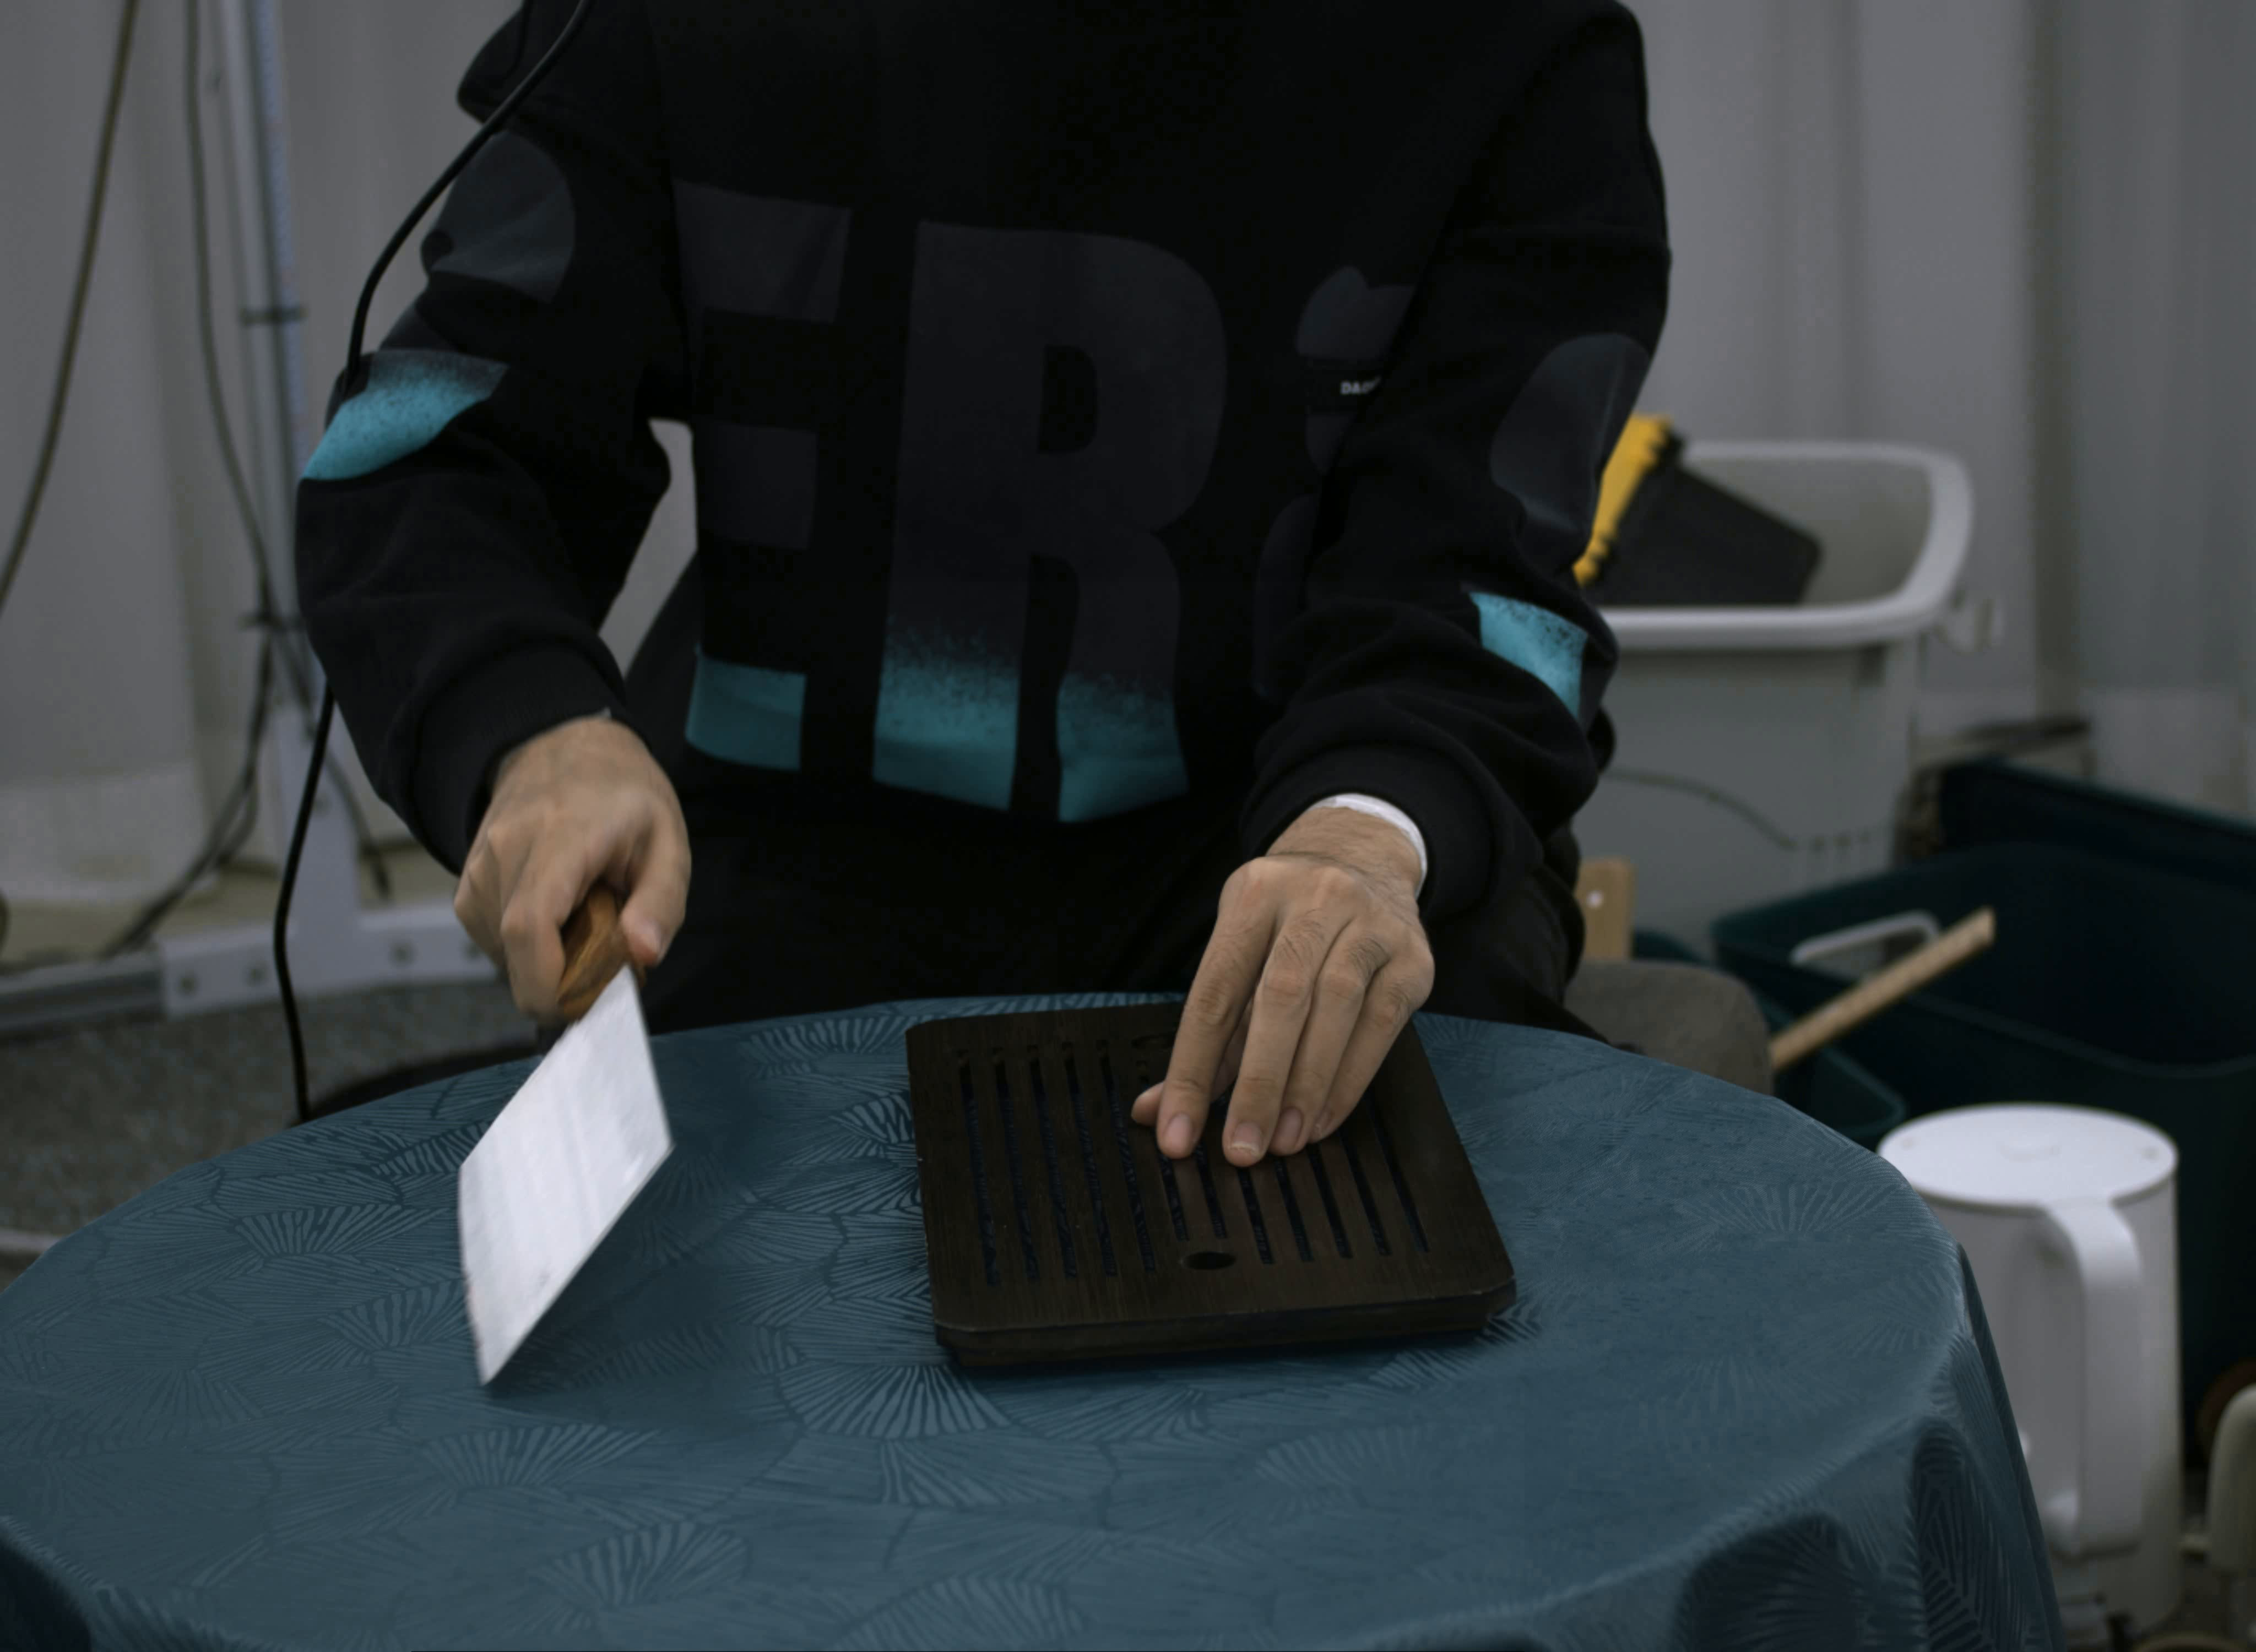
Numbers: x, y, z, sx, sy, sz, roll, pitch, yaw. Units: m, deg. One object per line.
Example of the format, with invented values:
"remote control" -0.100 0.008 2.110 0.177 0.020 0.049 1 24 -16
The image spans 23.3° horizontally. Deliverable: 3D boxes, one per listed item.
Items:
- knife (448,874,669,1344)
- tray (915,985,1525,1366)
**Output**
"knife" -0.181 0.087 1.702 0.021 0.093 0.308 39 7 -16
"tray" 0.021 0.106 1.707 0.169 0.018 0.308 -4 15 -2
